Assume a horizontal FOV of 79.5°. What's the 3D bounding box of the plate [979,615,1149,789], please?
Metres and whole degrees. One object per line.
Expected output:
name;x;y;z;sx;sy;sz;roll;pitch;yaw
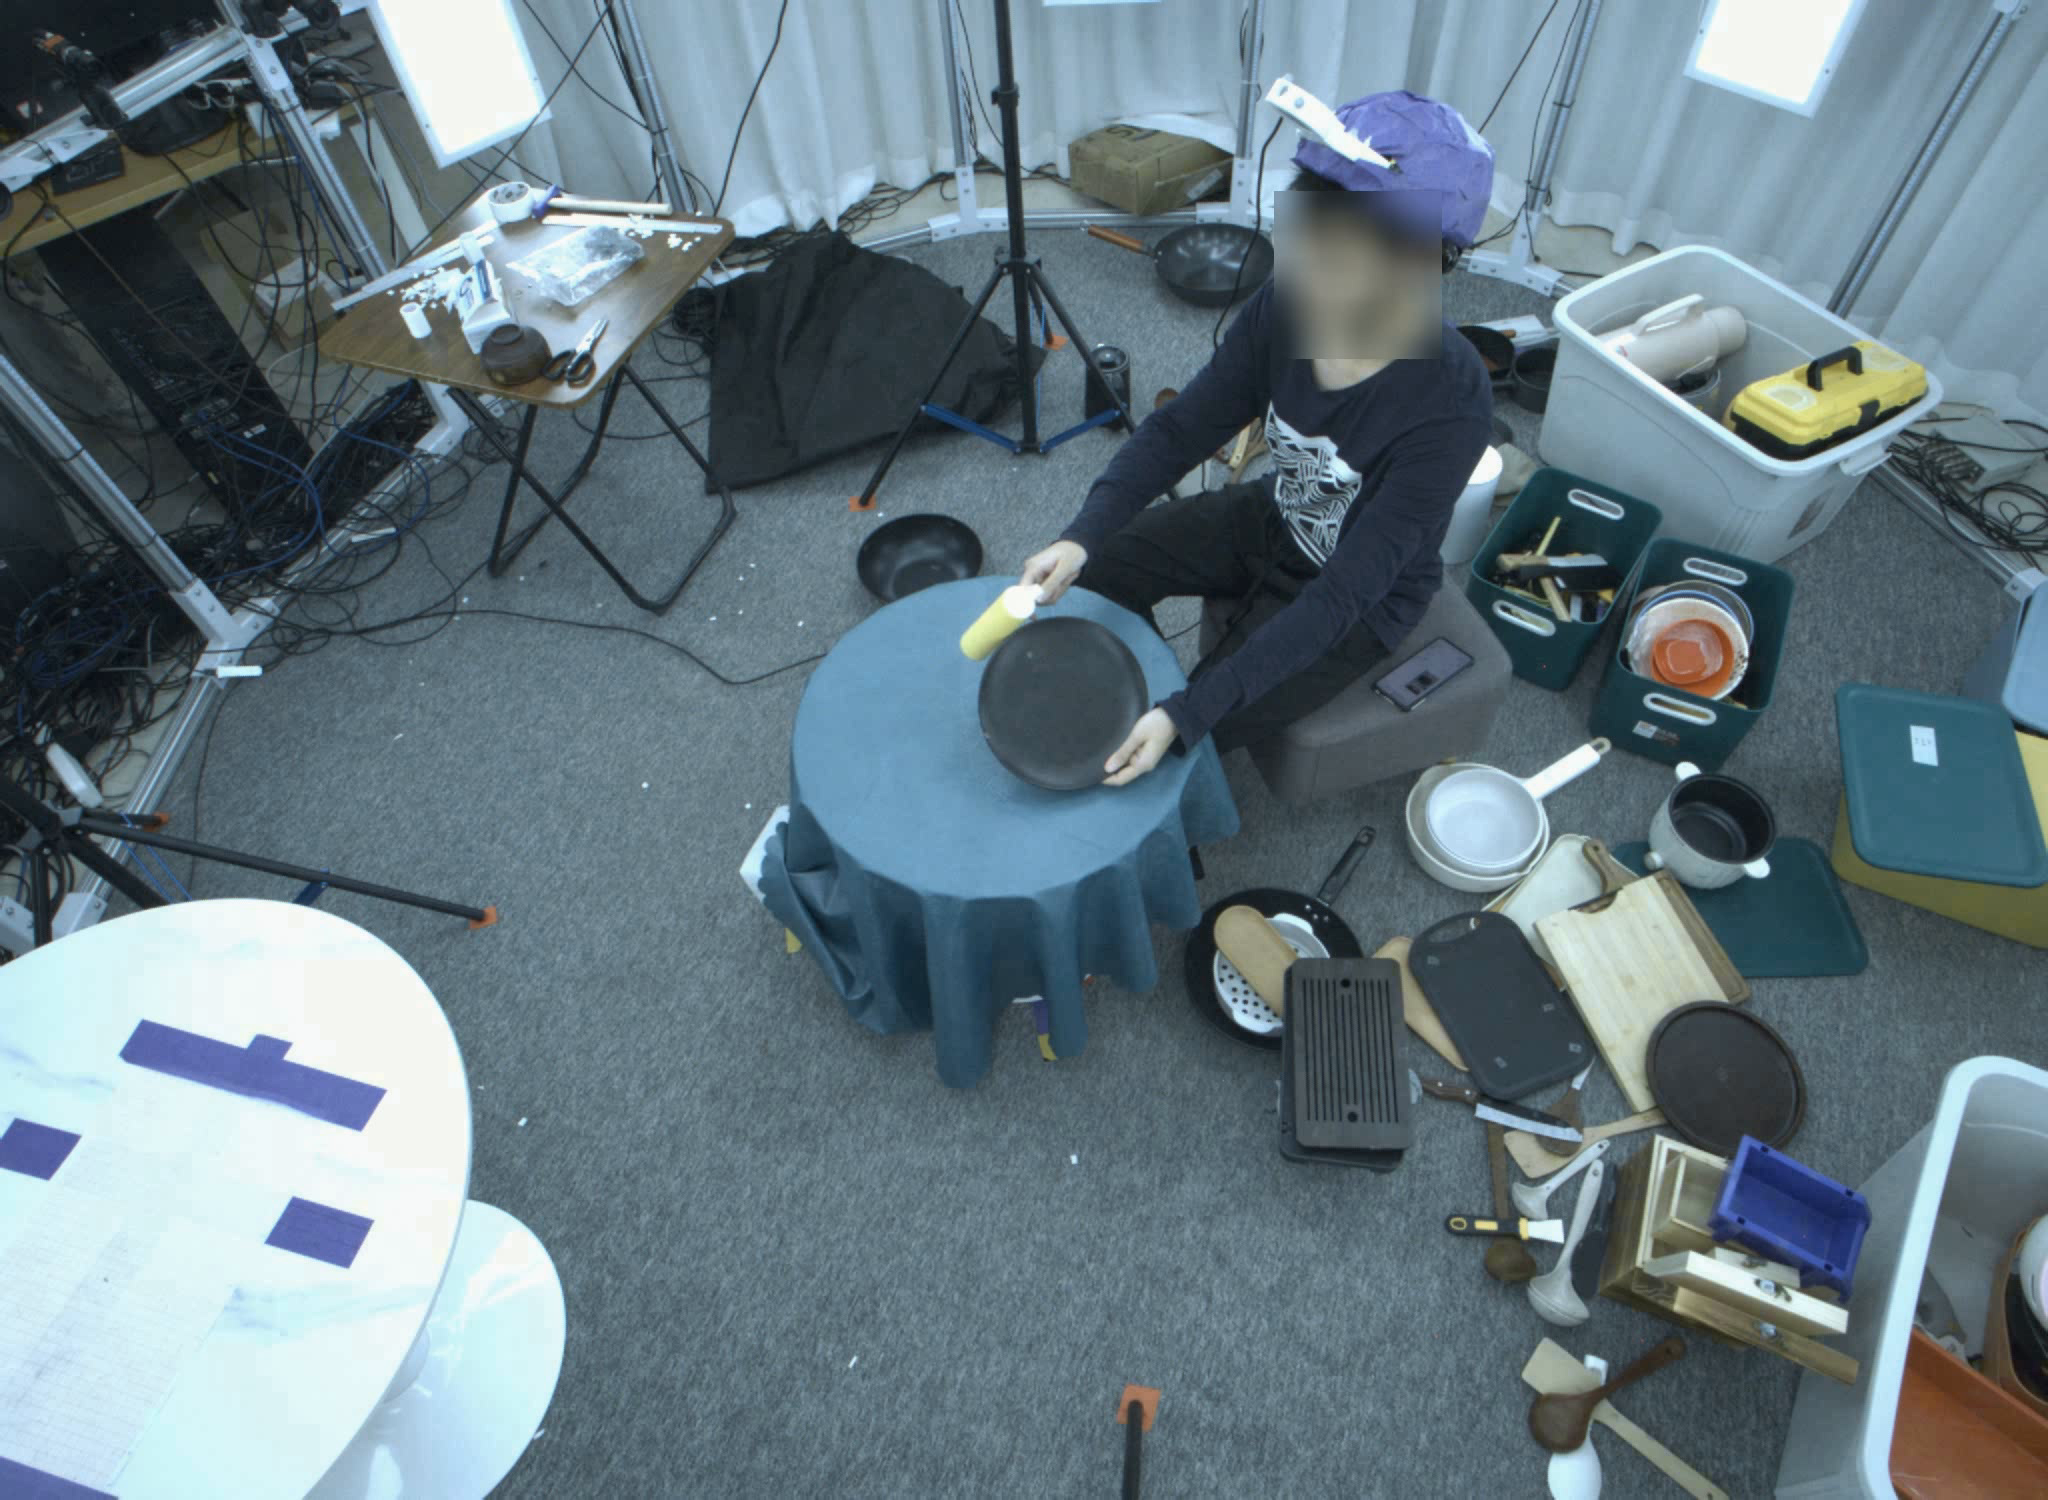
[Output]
plate;0.056;-0.067;1.726;0.247;0.023;0.244;0;93;-12

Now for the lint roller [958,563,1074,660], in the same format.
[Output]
lint roller;0.001;-0.219;1.745;0.052;0.172;0.193;44;59;-8
